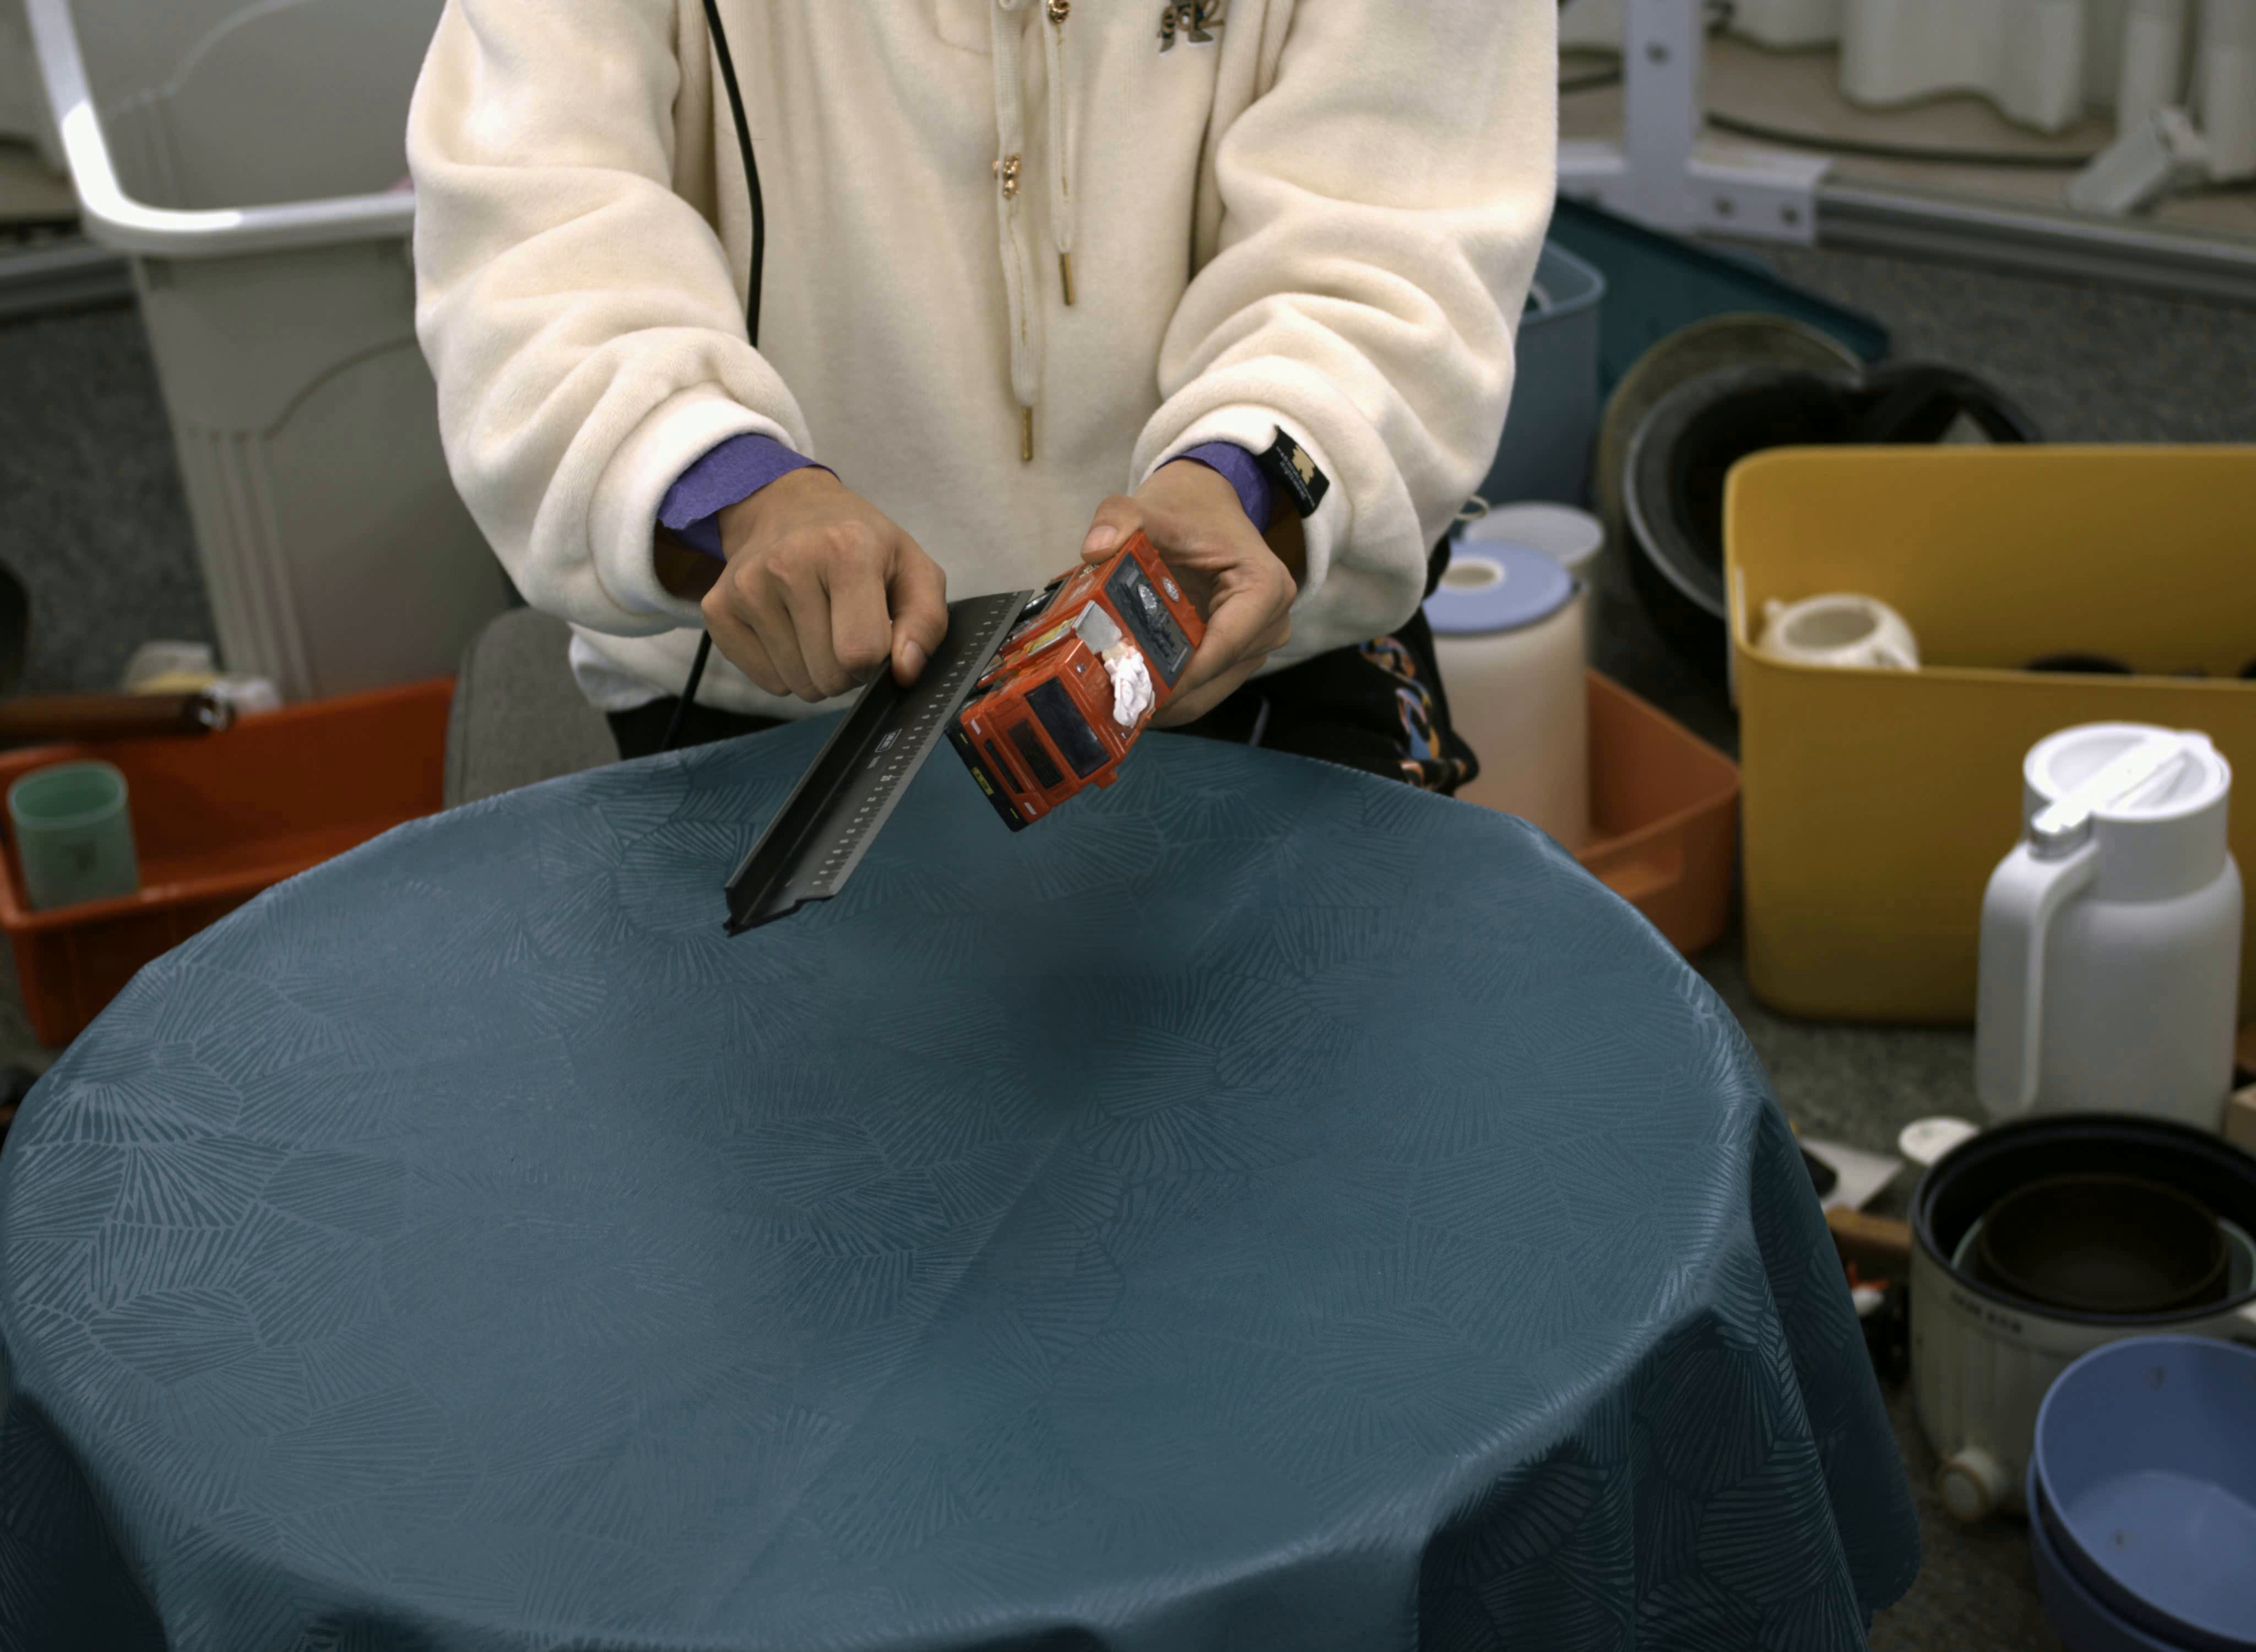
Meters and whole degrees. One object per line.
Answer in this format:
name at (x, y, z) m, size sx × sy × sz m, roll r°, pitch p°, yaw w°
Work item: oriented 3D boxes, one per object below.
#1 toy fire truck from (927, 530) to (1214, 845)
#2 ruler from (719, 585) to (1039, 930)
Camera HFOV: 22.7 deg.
toy fire truck at (-0.016, -0.049, 1.900) m, size 0.069 × 0.054 × 0.170 m, roll -31°, pitch 10°, yaw 18°
ruler at (-0.079, -0.031, 1.834) m, size 0.039 × 0.017 × 0.316 m, roll -18°, pitch 15°, yaw 17°
